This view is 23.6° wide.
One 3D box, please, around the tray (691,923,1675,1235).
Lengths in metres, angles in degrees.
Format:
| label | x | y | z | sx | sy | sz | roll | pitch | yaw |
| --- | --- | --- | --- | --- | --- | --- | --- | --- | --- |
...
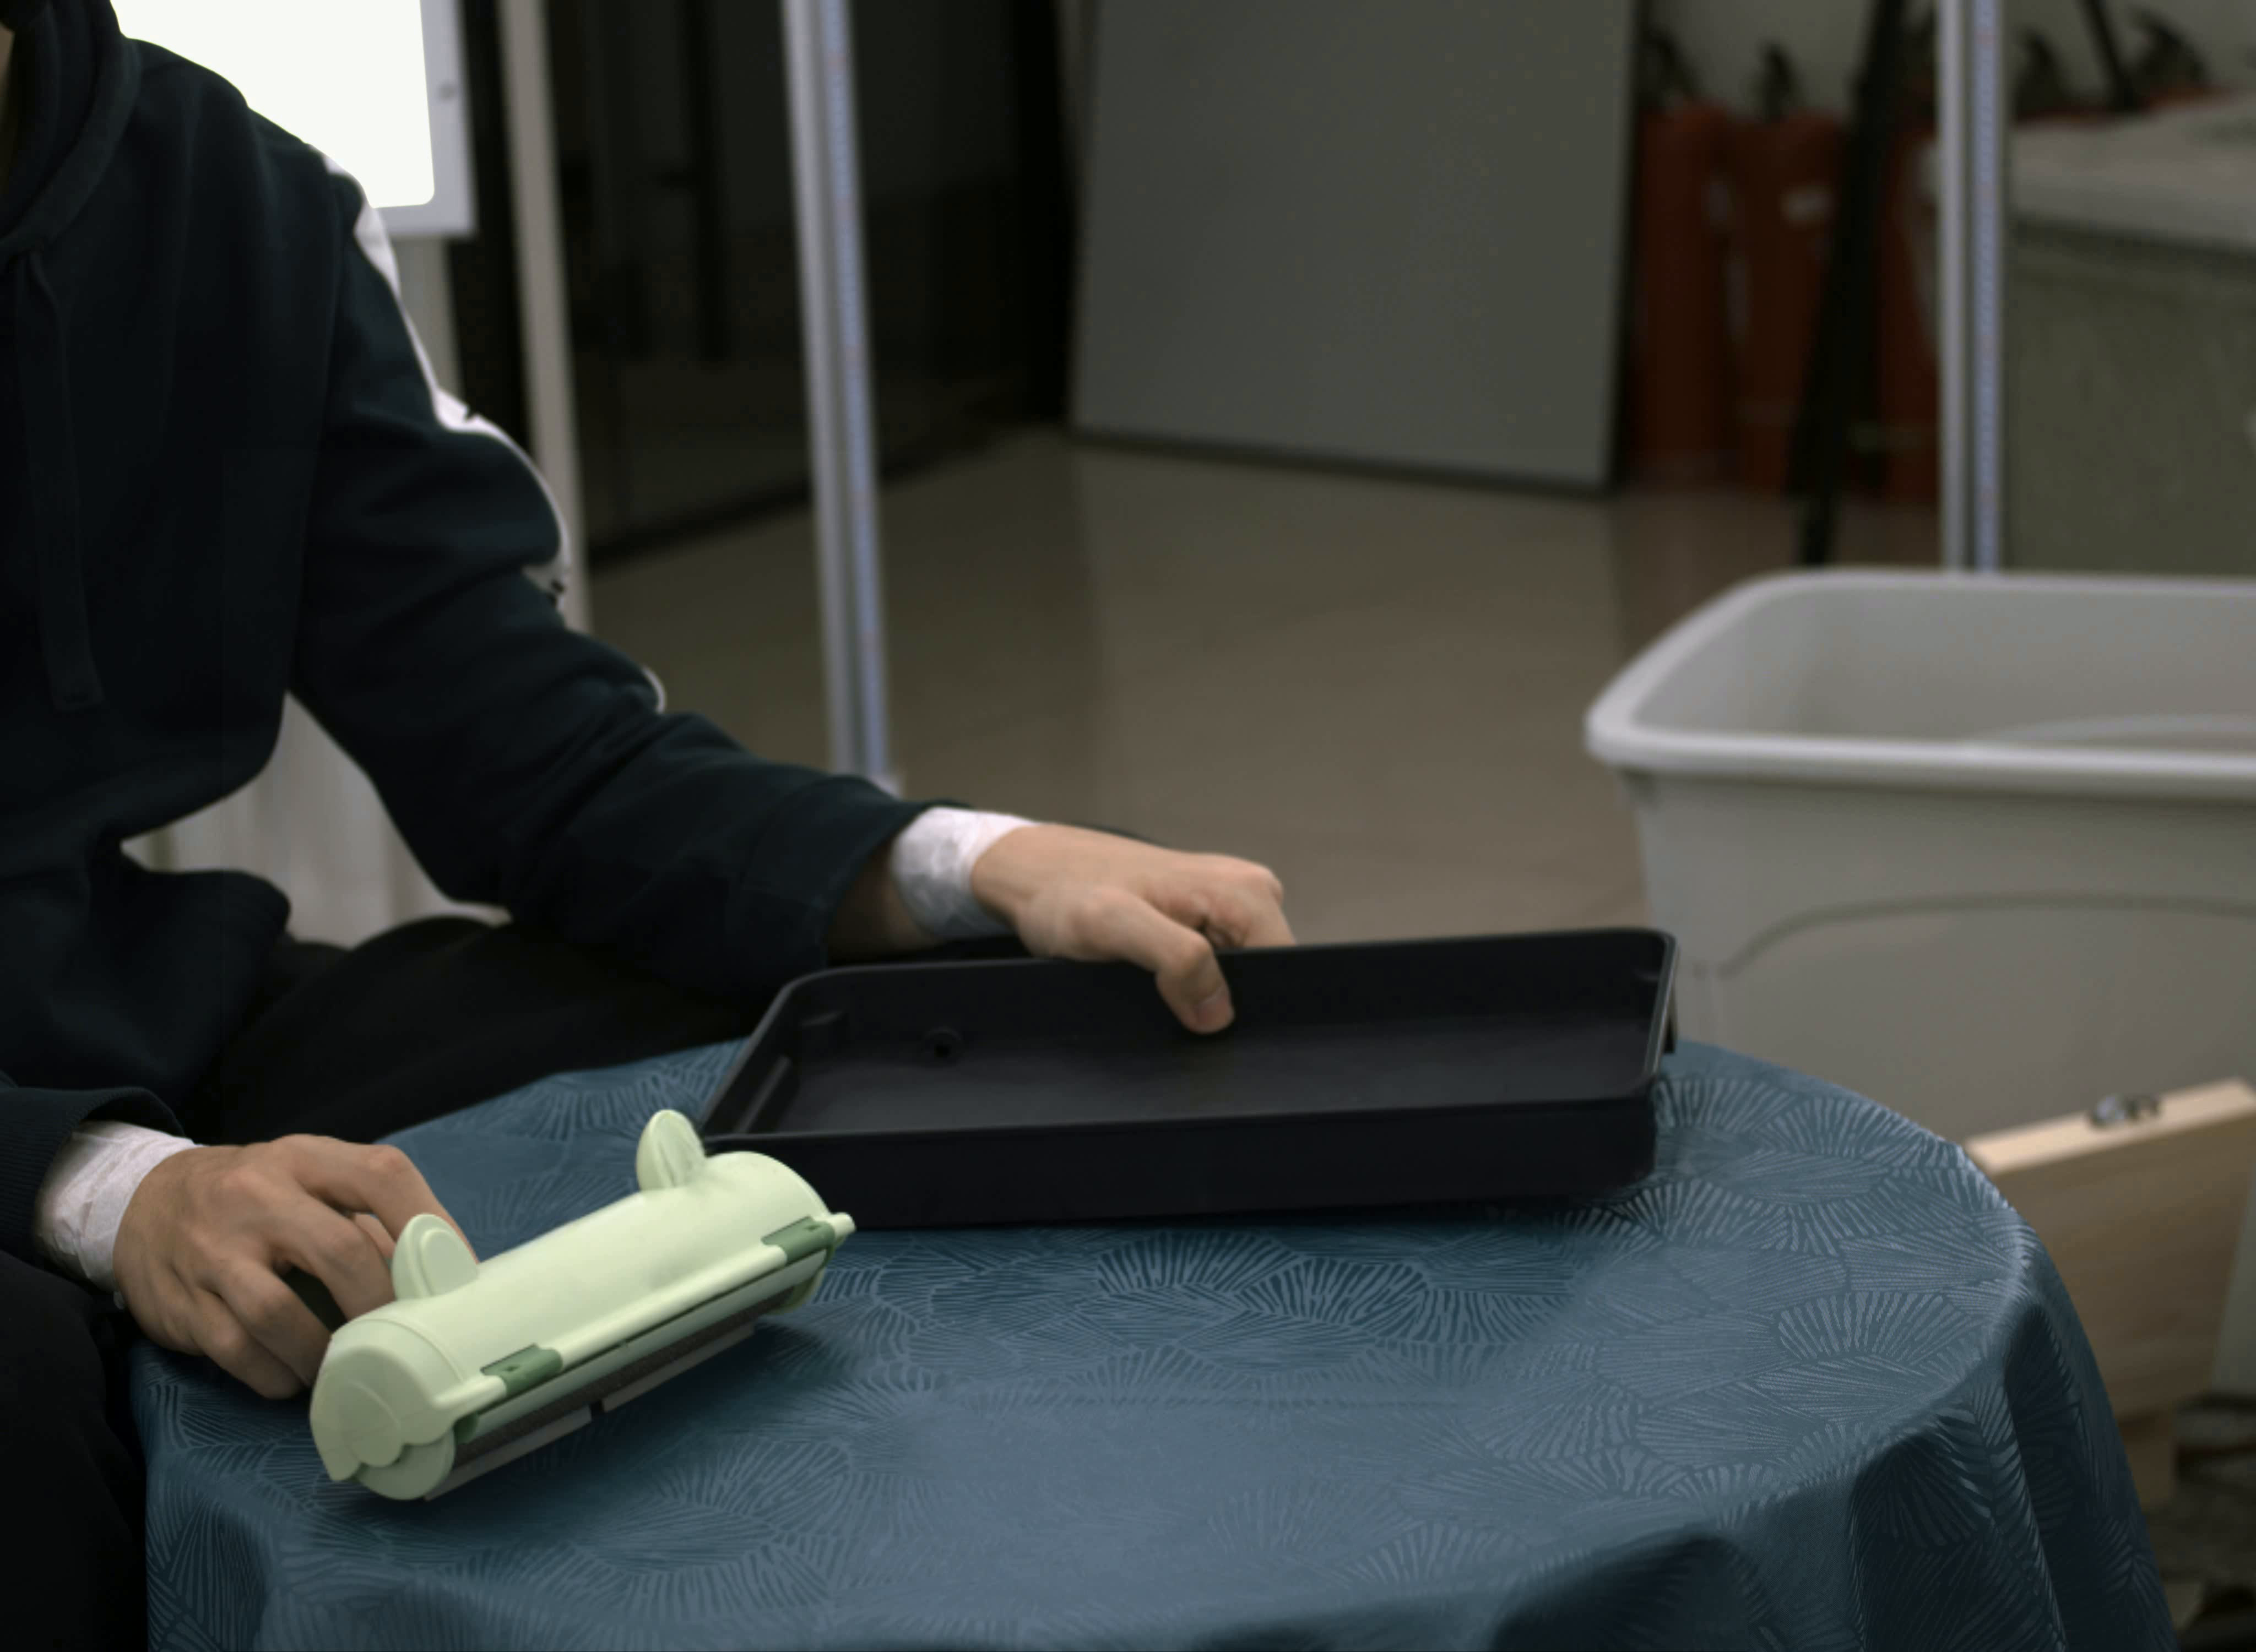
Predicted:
| label | x | y | z | sx | sy | sz | roll | pitch | yaw |
| --- | --- | --- | --- | --- | --- | --- | --- | --- | --- |
| tray | 0.024 | 0.084 | 1.805 | 0.316 | 0.037 | 0.183 | -4 | 15 | 12 |

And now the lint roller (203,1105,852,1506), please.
| label | x | y | z | sx | sy | sz | roll | pitch | yaw |
| --- | --- | --- | --- | --- | --- | --- | --- | --- | --- |
| lint roller | -0.207 | 0.132 | 1.617 | 0.184 | 0.083 | 0.195 | 8 | 17 | 33 |
